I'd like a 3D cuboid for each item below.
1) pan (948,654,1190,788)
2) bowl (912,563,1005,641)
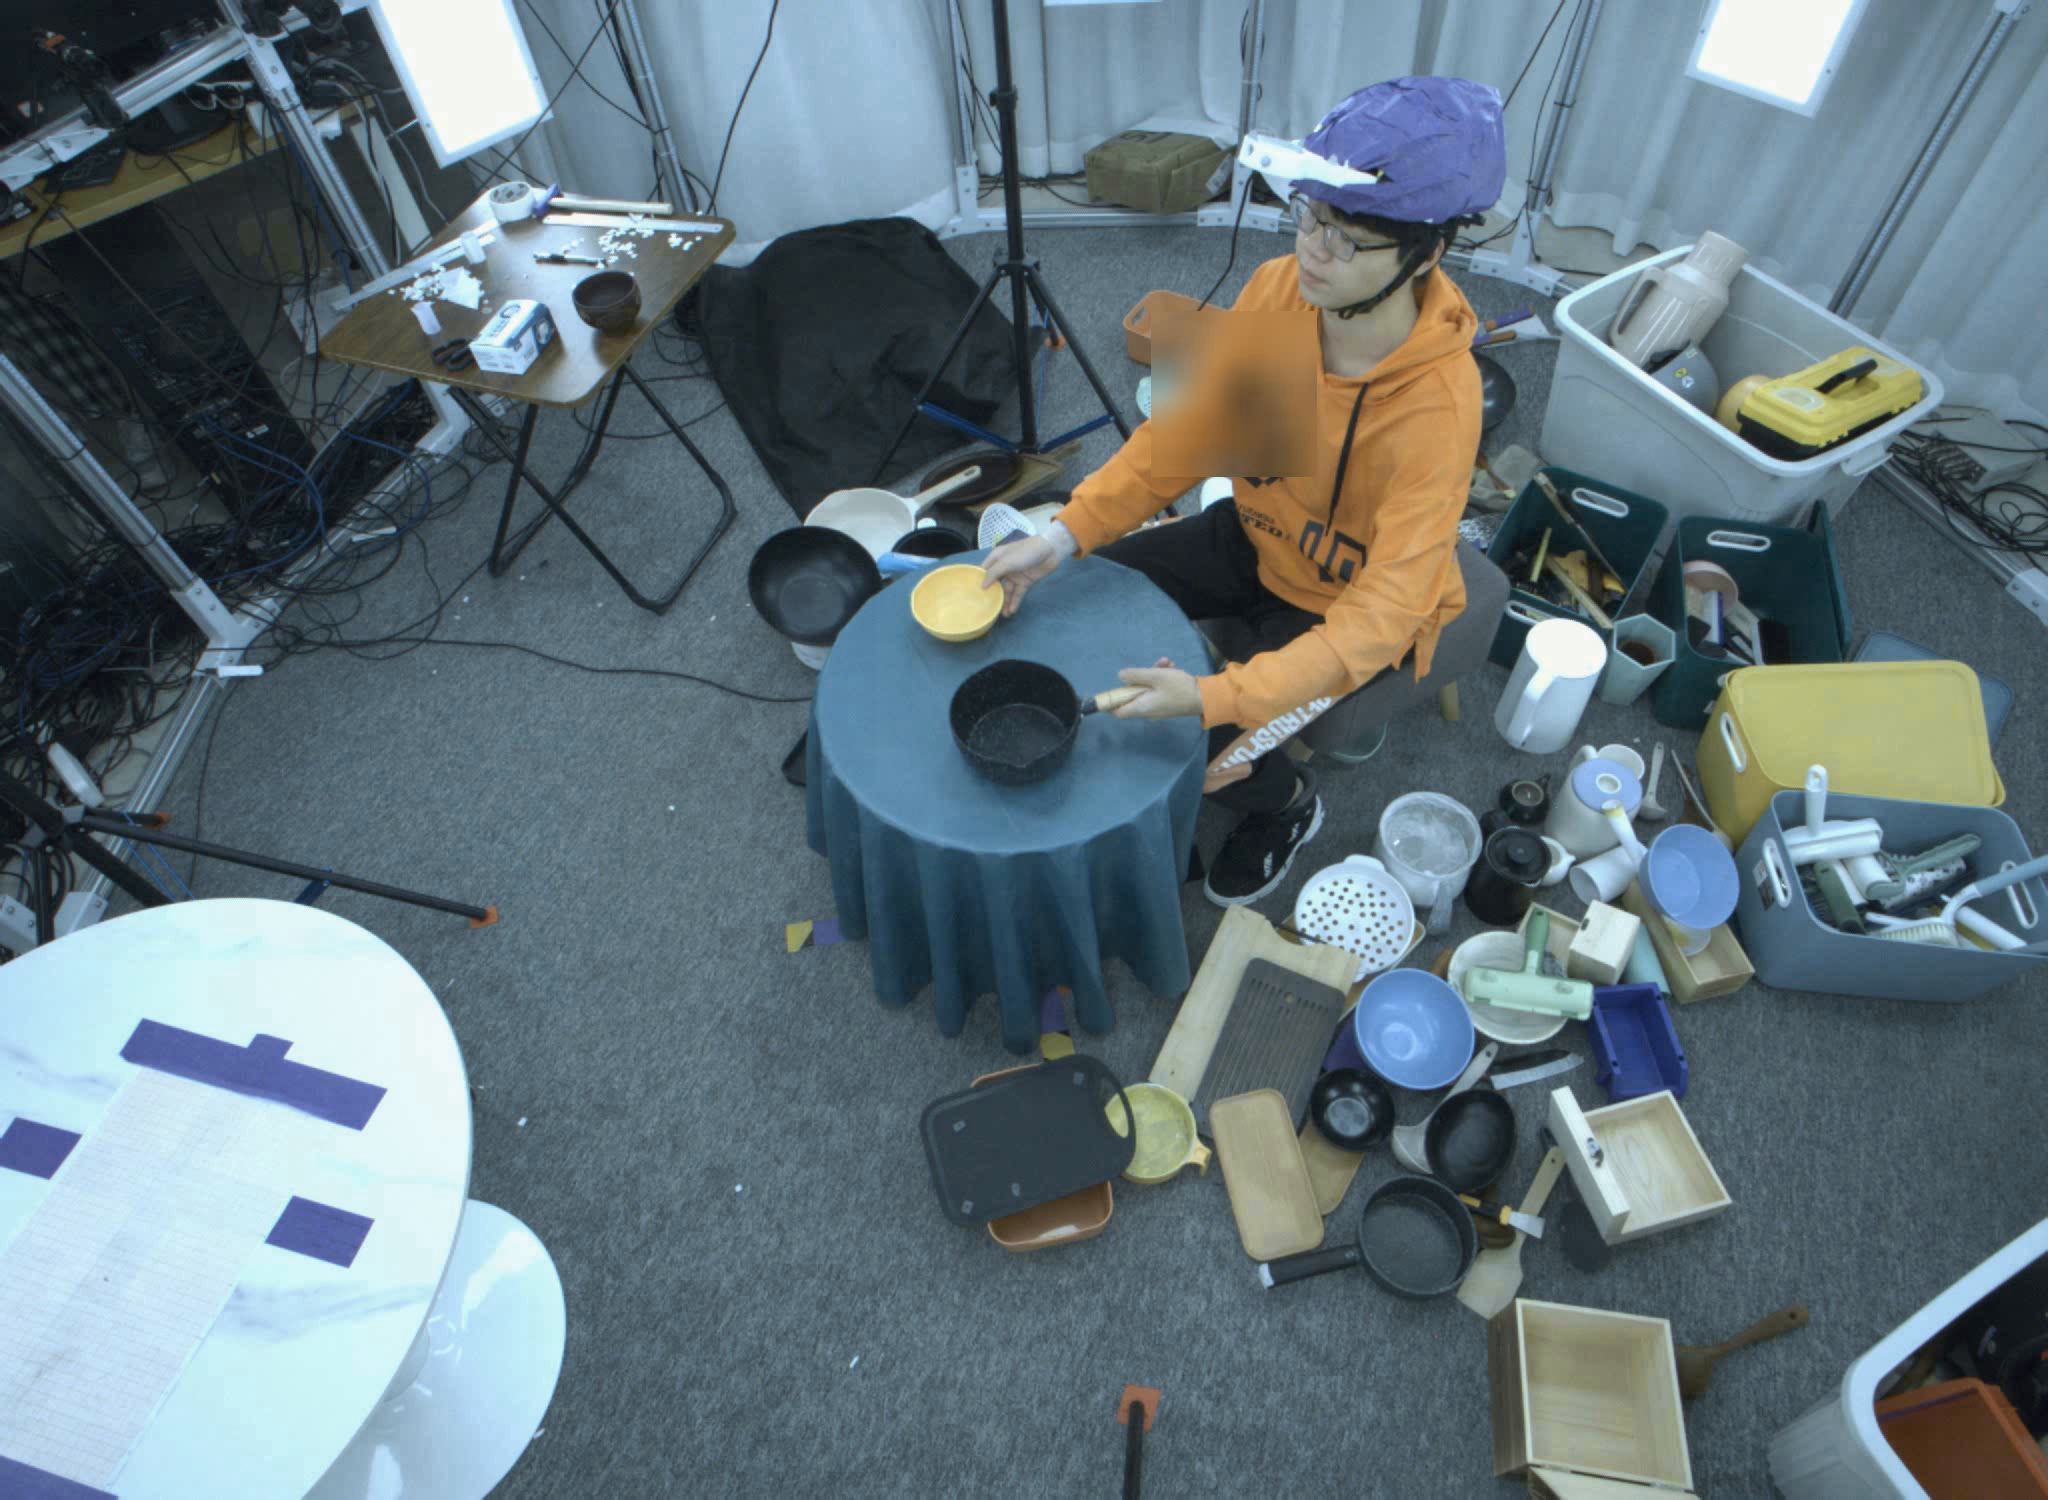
[{"bbox_3d":[0.066,-0.052,1.755,0.343,0.109,0.204,-10,54,-3],"label":"pan"},{"bbox_3d":[-0.101,-0.219,1.909,0.145,0.061,0.144,0,56,2],"label":"bowl"}]
